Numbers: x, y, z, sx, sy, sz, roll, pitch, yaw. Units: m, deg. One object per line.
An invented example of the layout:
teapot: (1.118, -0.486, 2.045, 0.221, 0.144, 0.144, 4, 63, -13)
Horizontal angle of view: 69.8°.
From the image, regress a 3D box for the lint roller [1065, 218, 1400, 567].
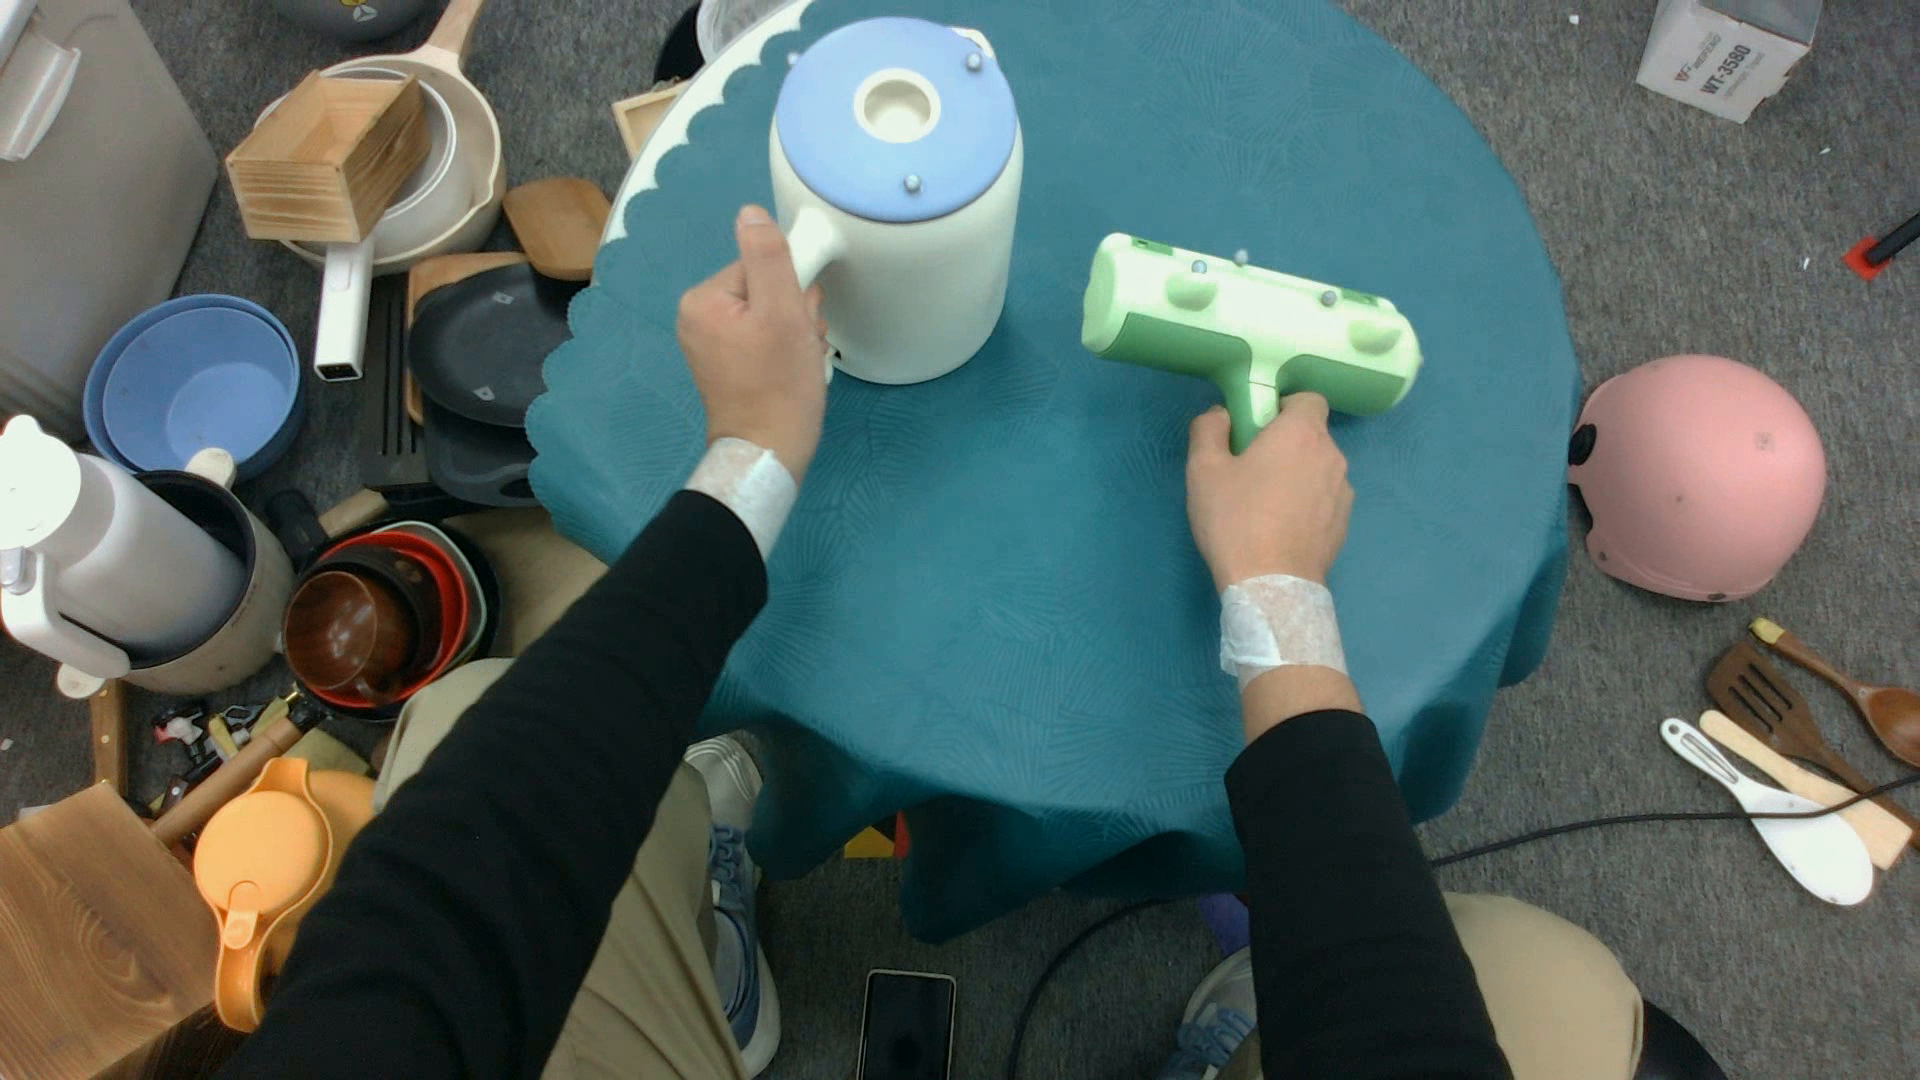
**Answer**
lint roller: (0.157, -0.080, 0.751, 0.199, 0.082, 0.184, 11, 61, -18)

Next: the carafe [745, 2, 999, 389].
carafe: (-0.061, -0.170, 0.749, 0.132, 0.182, 0.191, 30, 72, 8)
